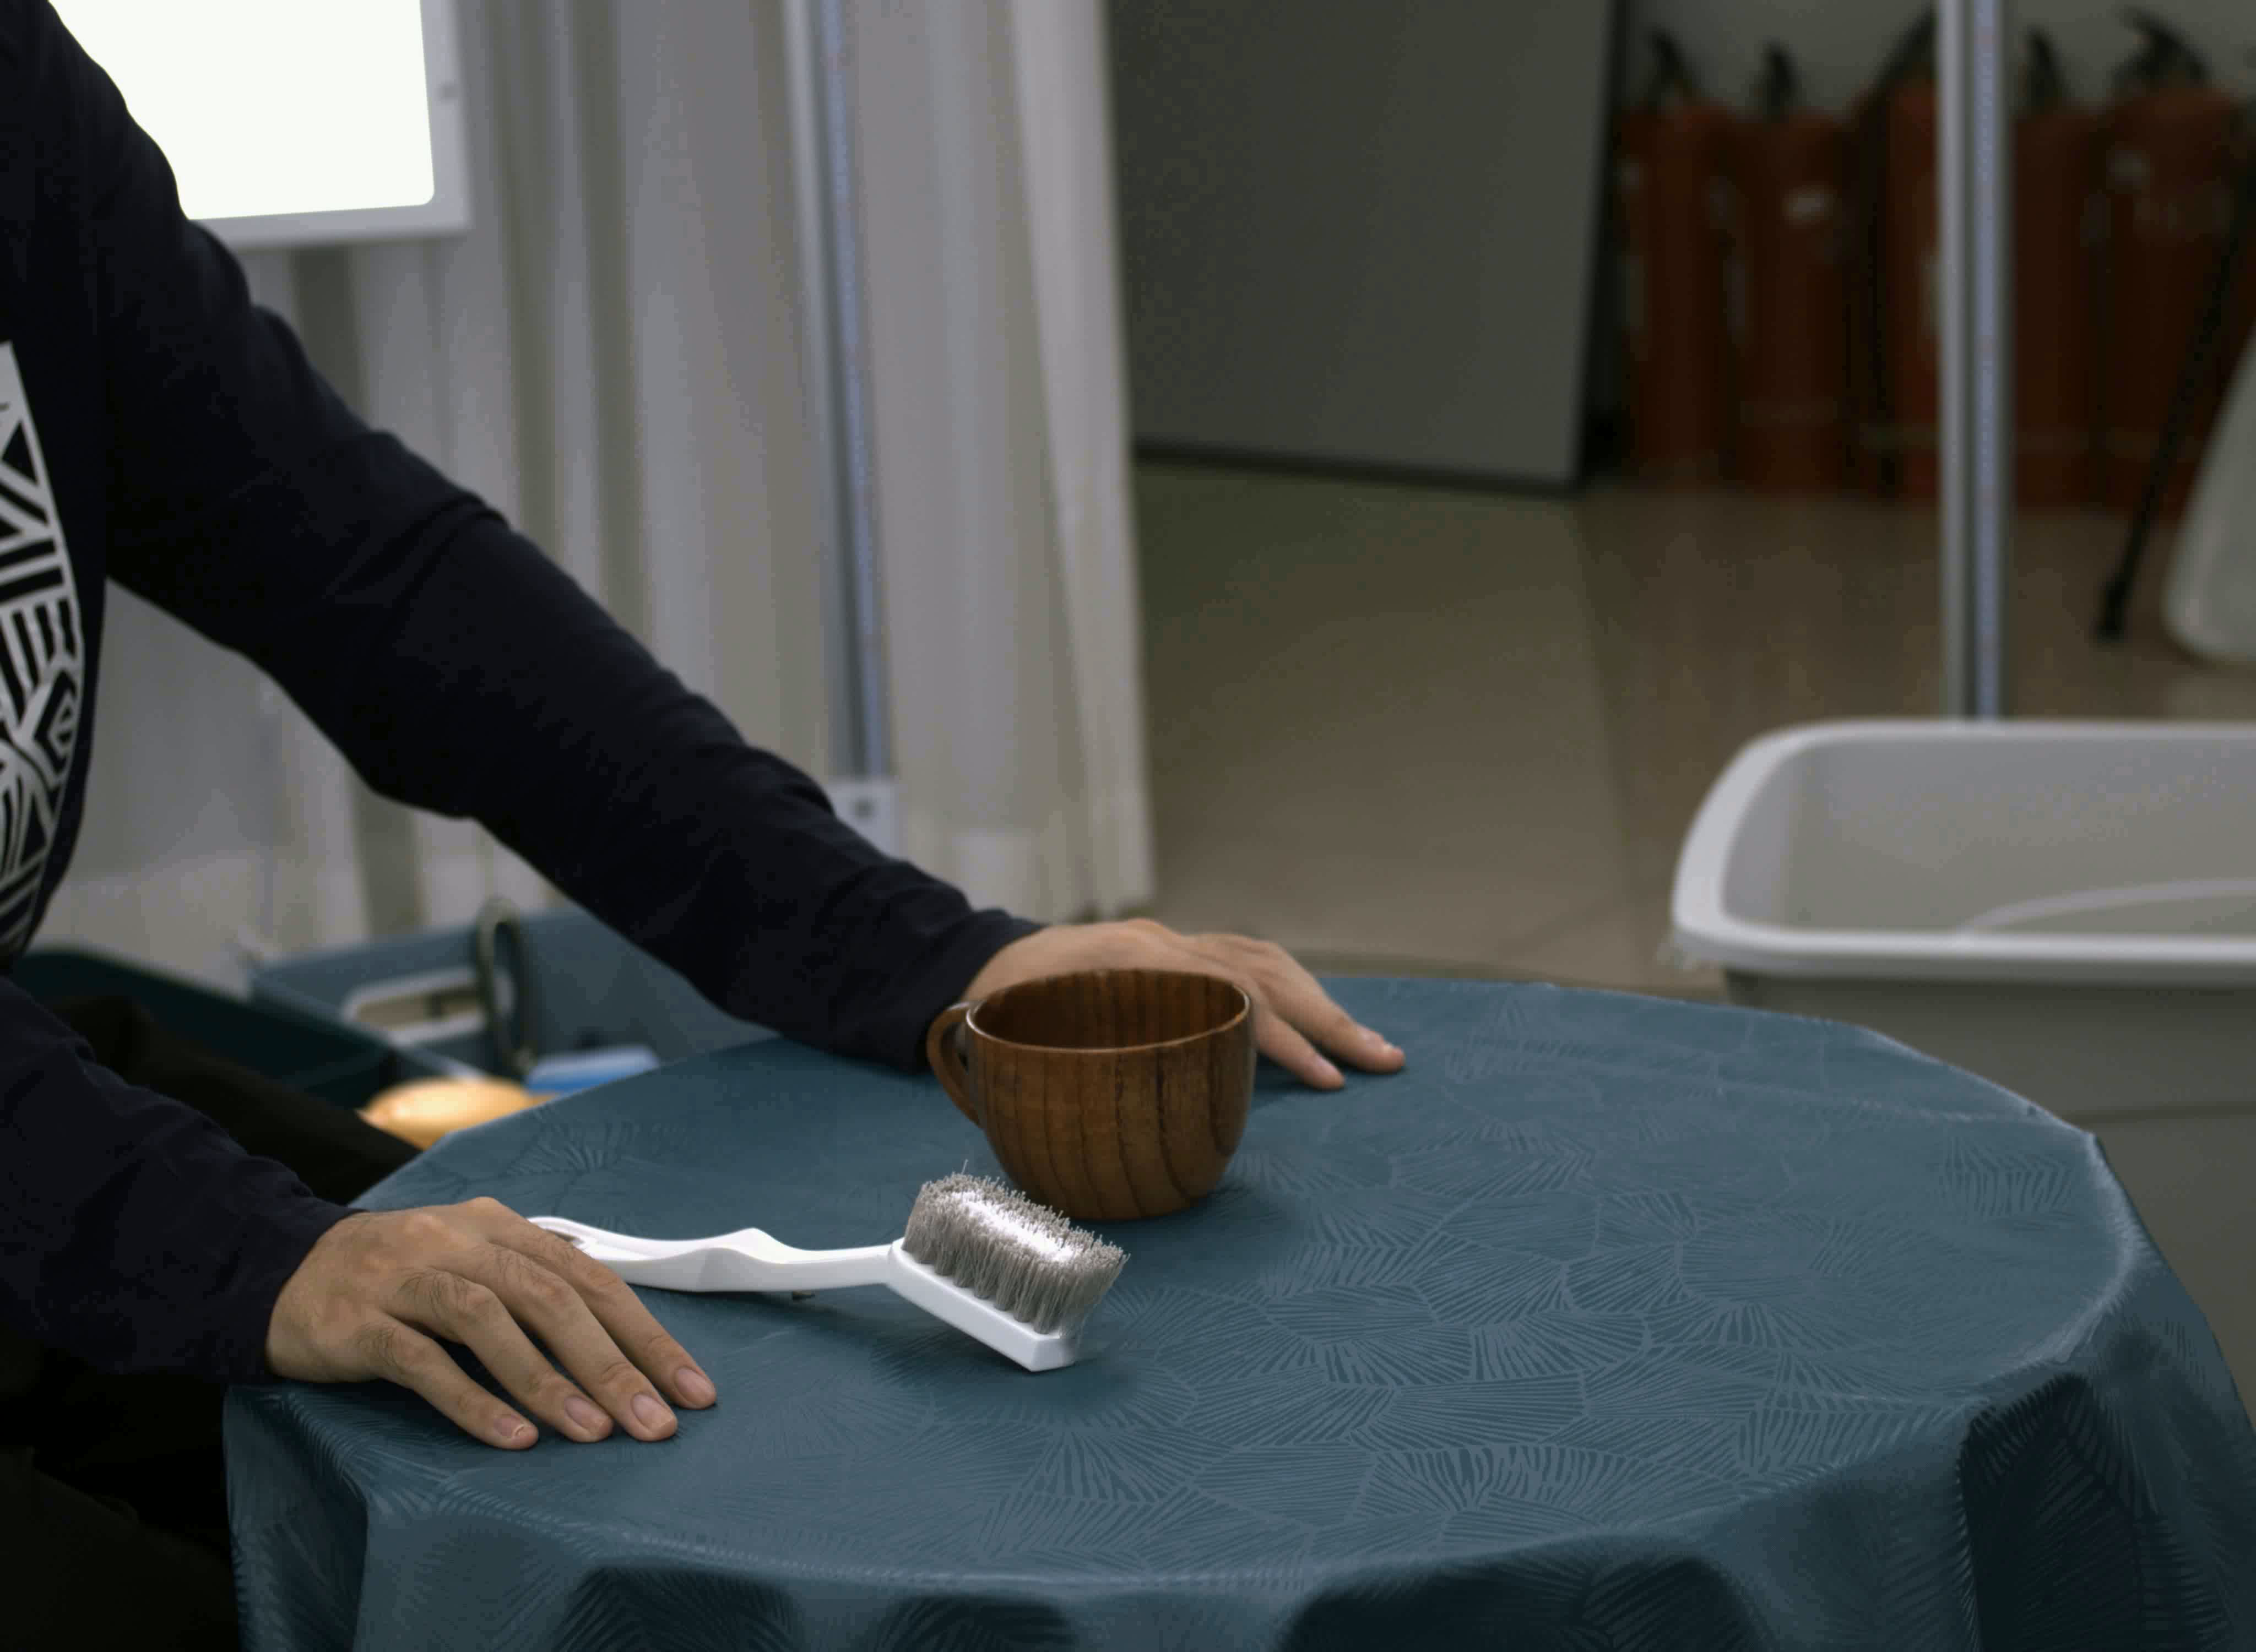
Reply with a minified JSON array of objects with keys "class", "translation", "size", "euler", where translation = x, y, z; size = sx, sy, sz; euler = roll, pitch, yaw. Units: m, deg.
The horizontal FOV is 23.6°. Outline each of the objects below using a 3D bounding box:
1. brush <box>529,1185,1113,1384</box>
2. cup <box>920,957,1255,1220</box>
[{"class":"brush","translation":[-0.102,0.128,1.680],"size":[0.246,0.051,0.034],"euler":[8,22,42]},{"class":"cup","translation":[-0.015,0.087,1.773],"size":[0.120,0.068,0.094],"euler":[7,18,30]}]
